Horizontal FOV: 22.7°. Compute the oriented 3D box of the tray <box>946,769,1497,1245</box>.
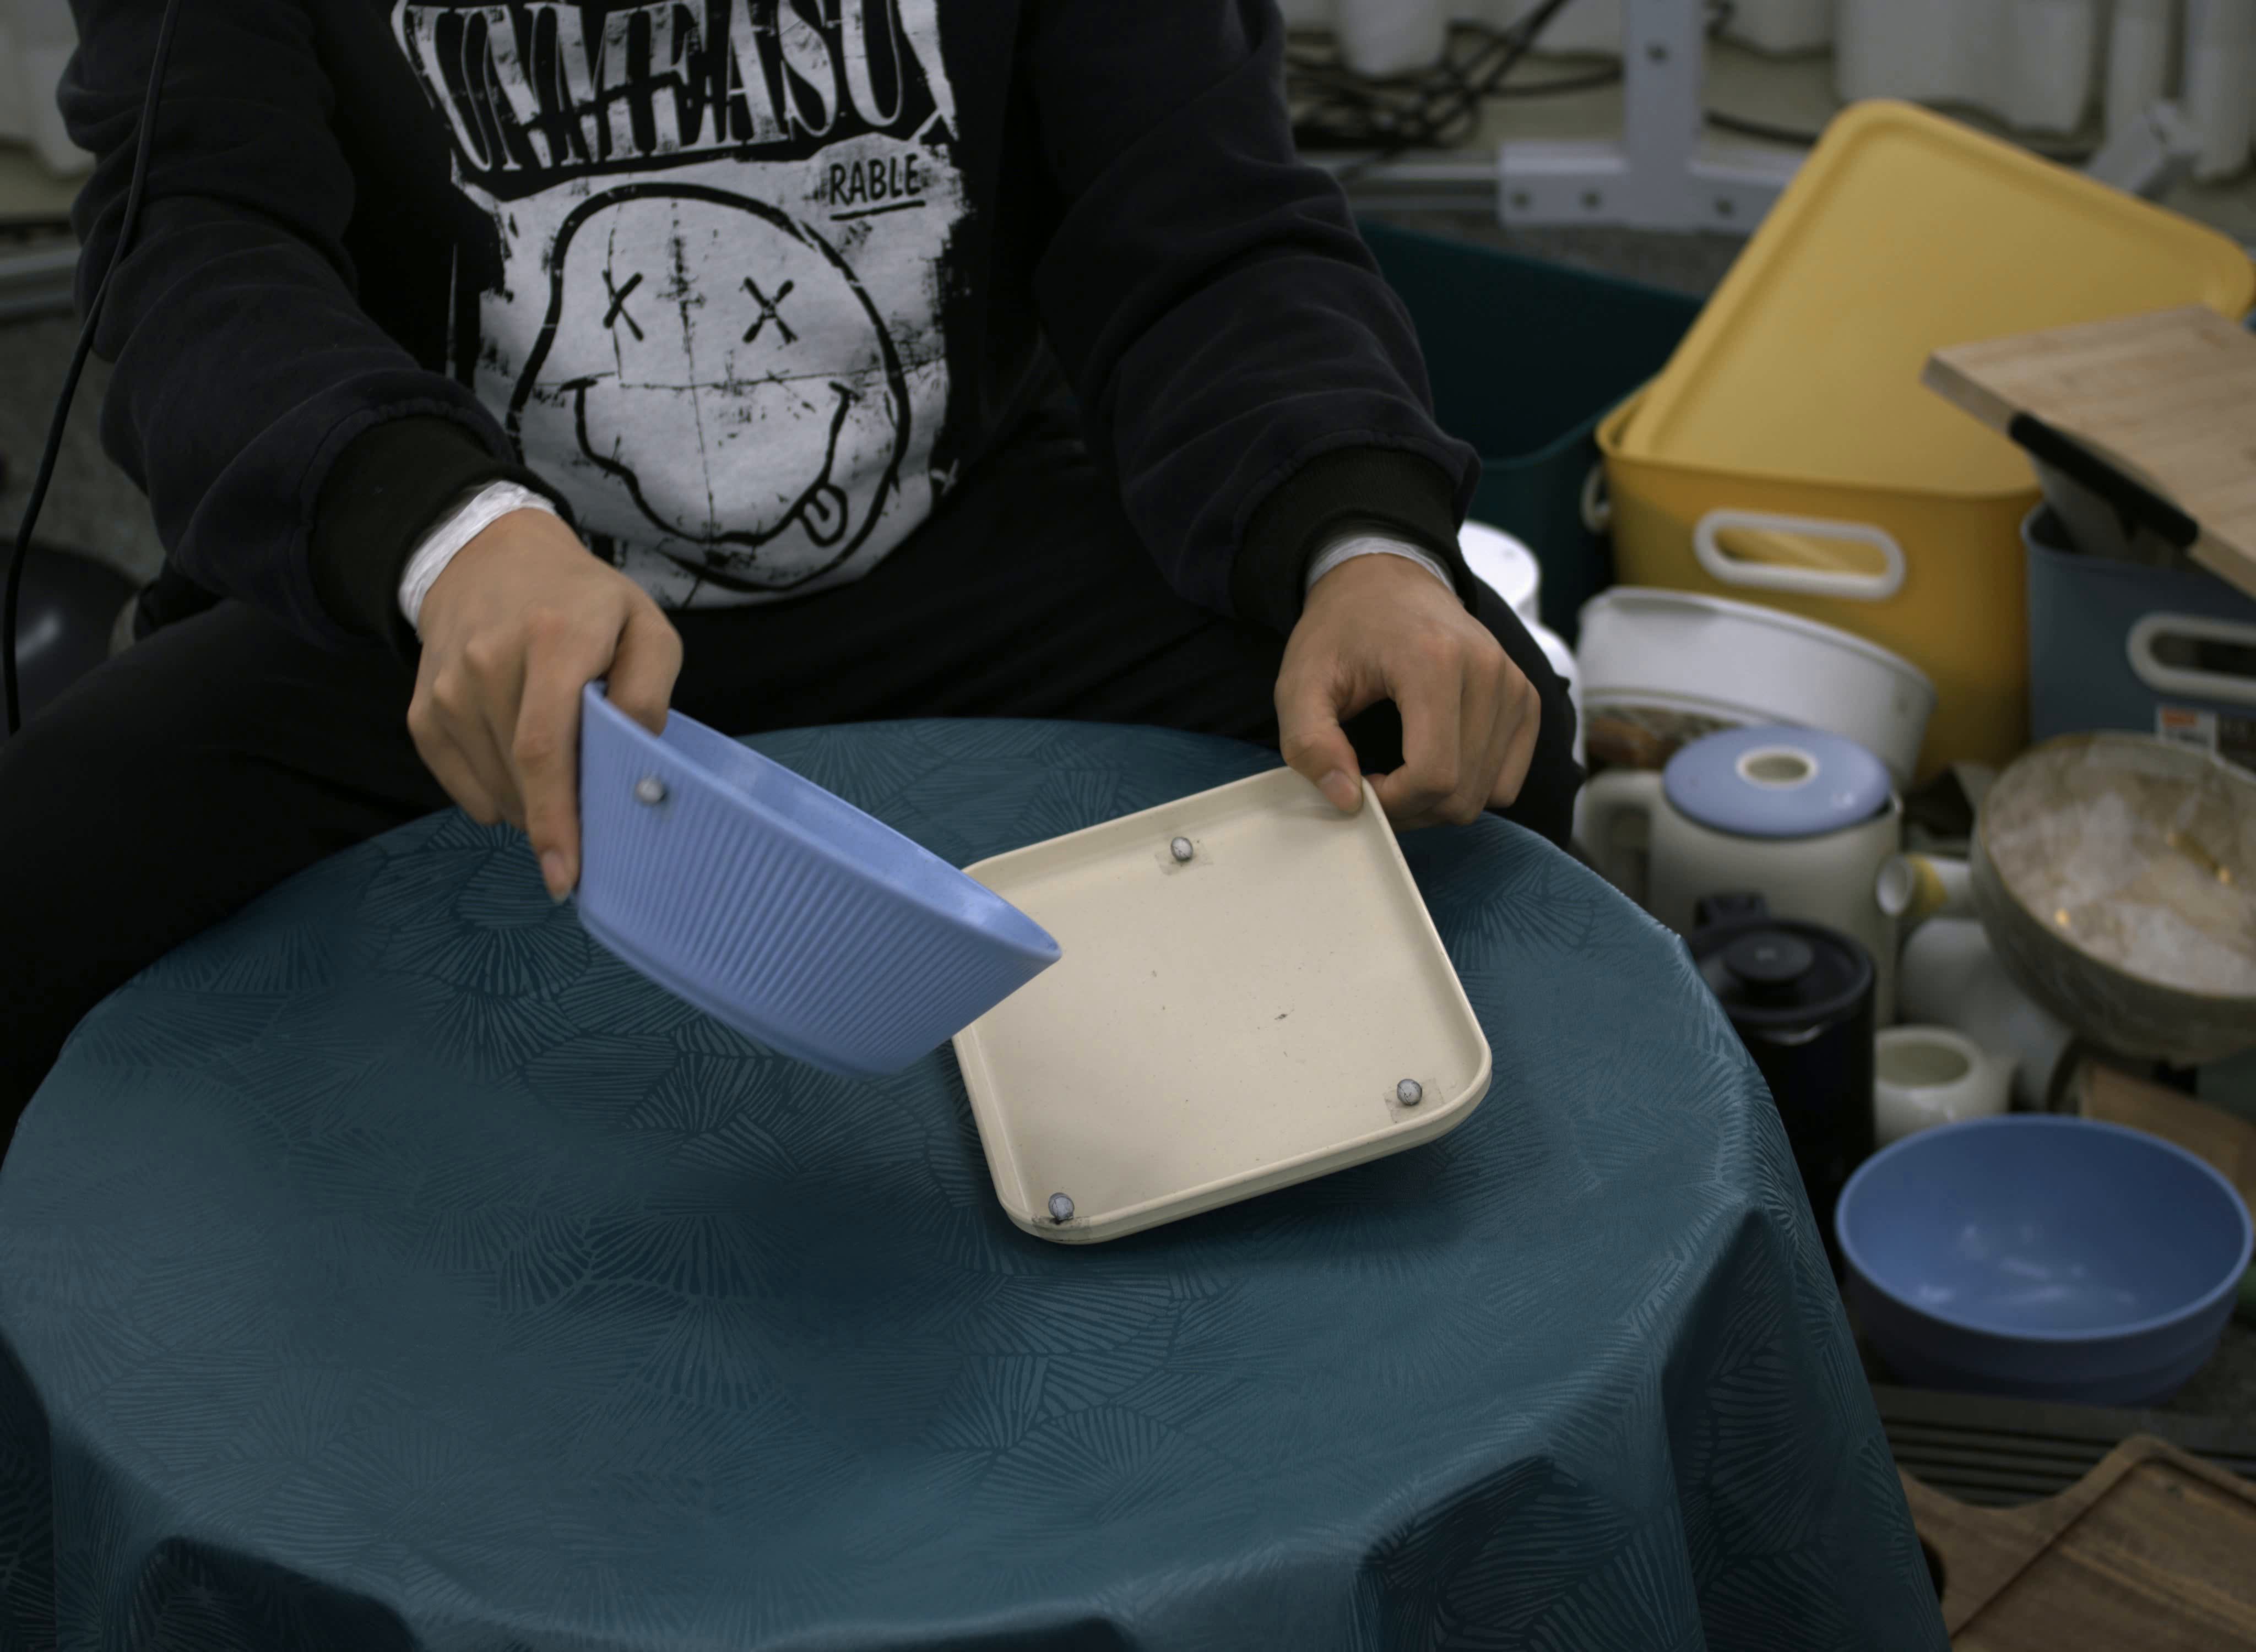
[{"bbox_3d":[0.025,0.061,1.924,0.171,0.017,0.243,-16,30,-3],"label":"tray"}]

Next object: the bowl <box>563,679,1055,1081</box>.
[{"bbox_3d":[-0.114,0.025,1.802,0.175,0.070,0.176,30,4,-1],"label":"bowl"}]
